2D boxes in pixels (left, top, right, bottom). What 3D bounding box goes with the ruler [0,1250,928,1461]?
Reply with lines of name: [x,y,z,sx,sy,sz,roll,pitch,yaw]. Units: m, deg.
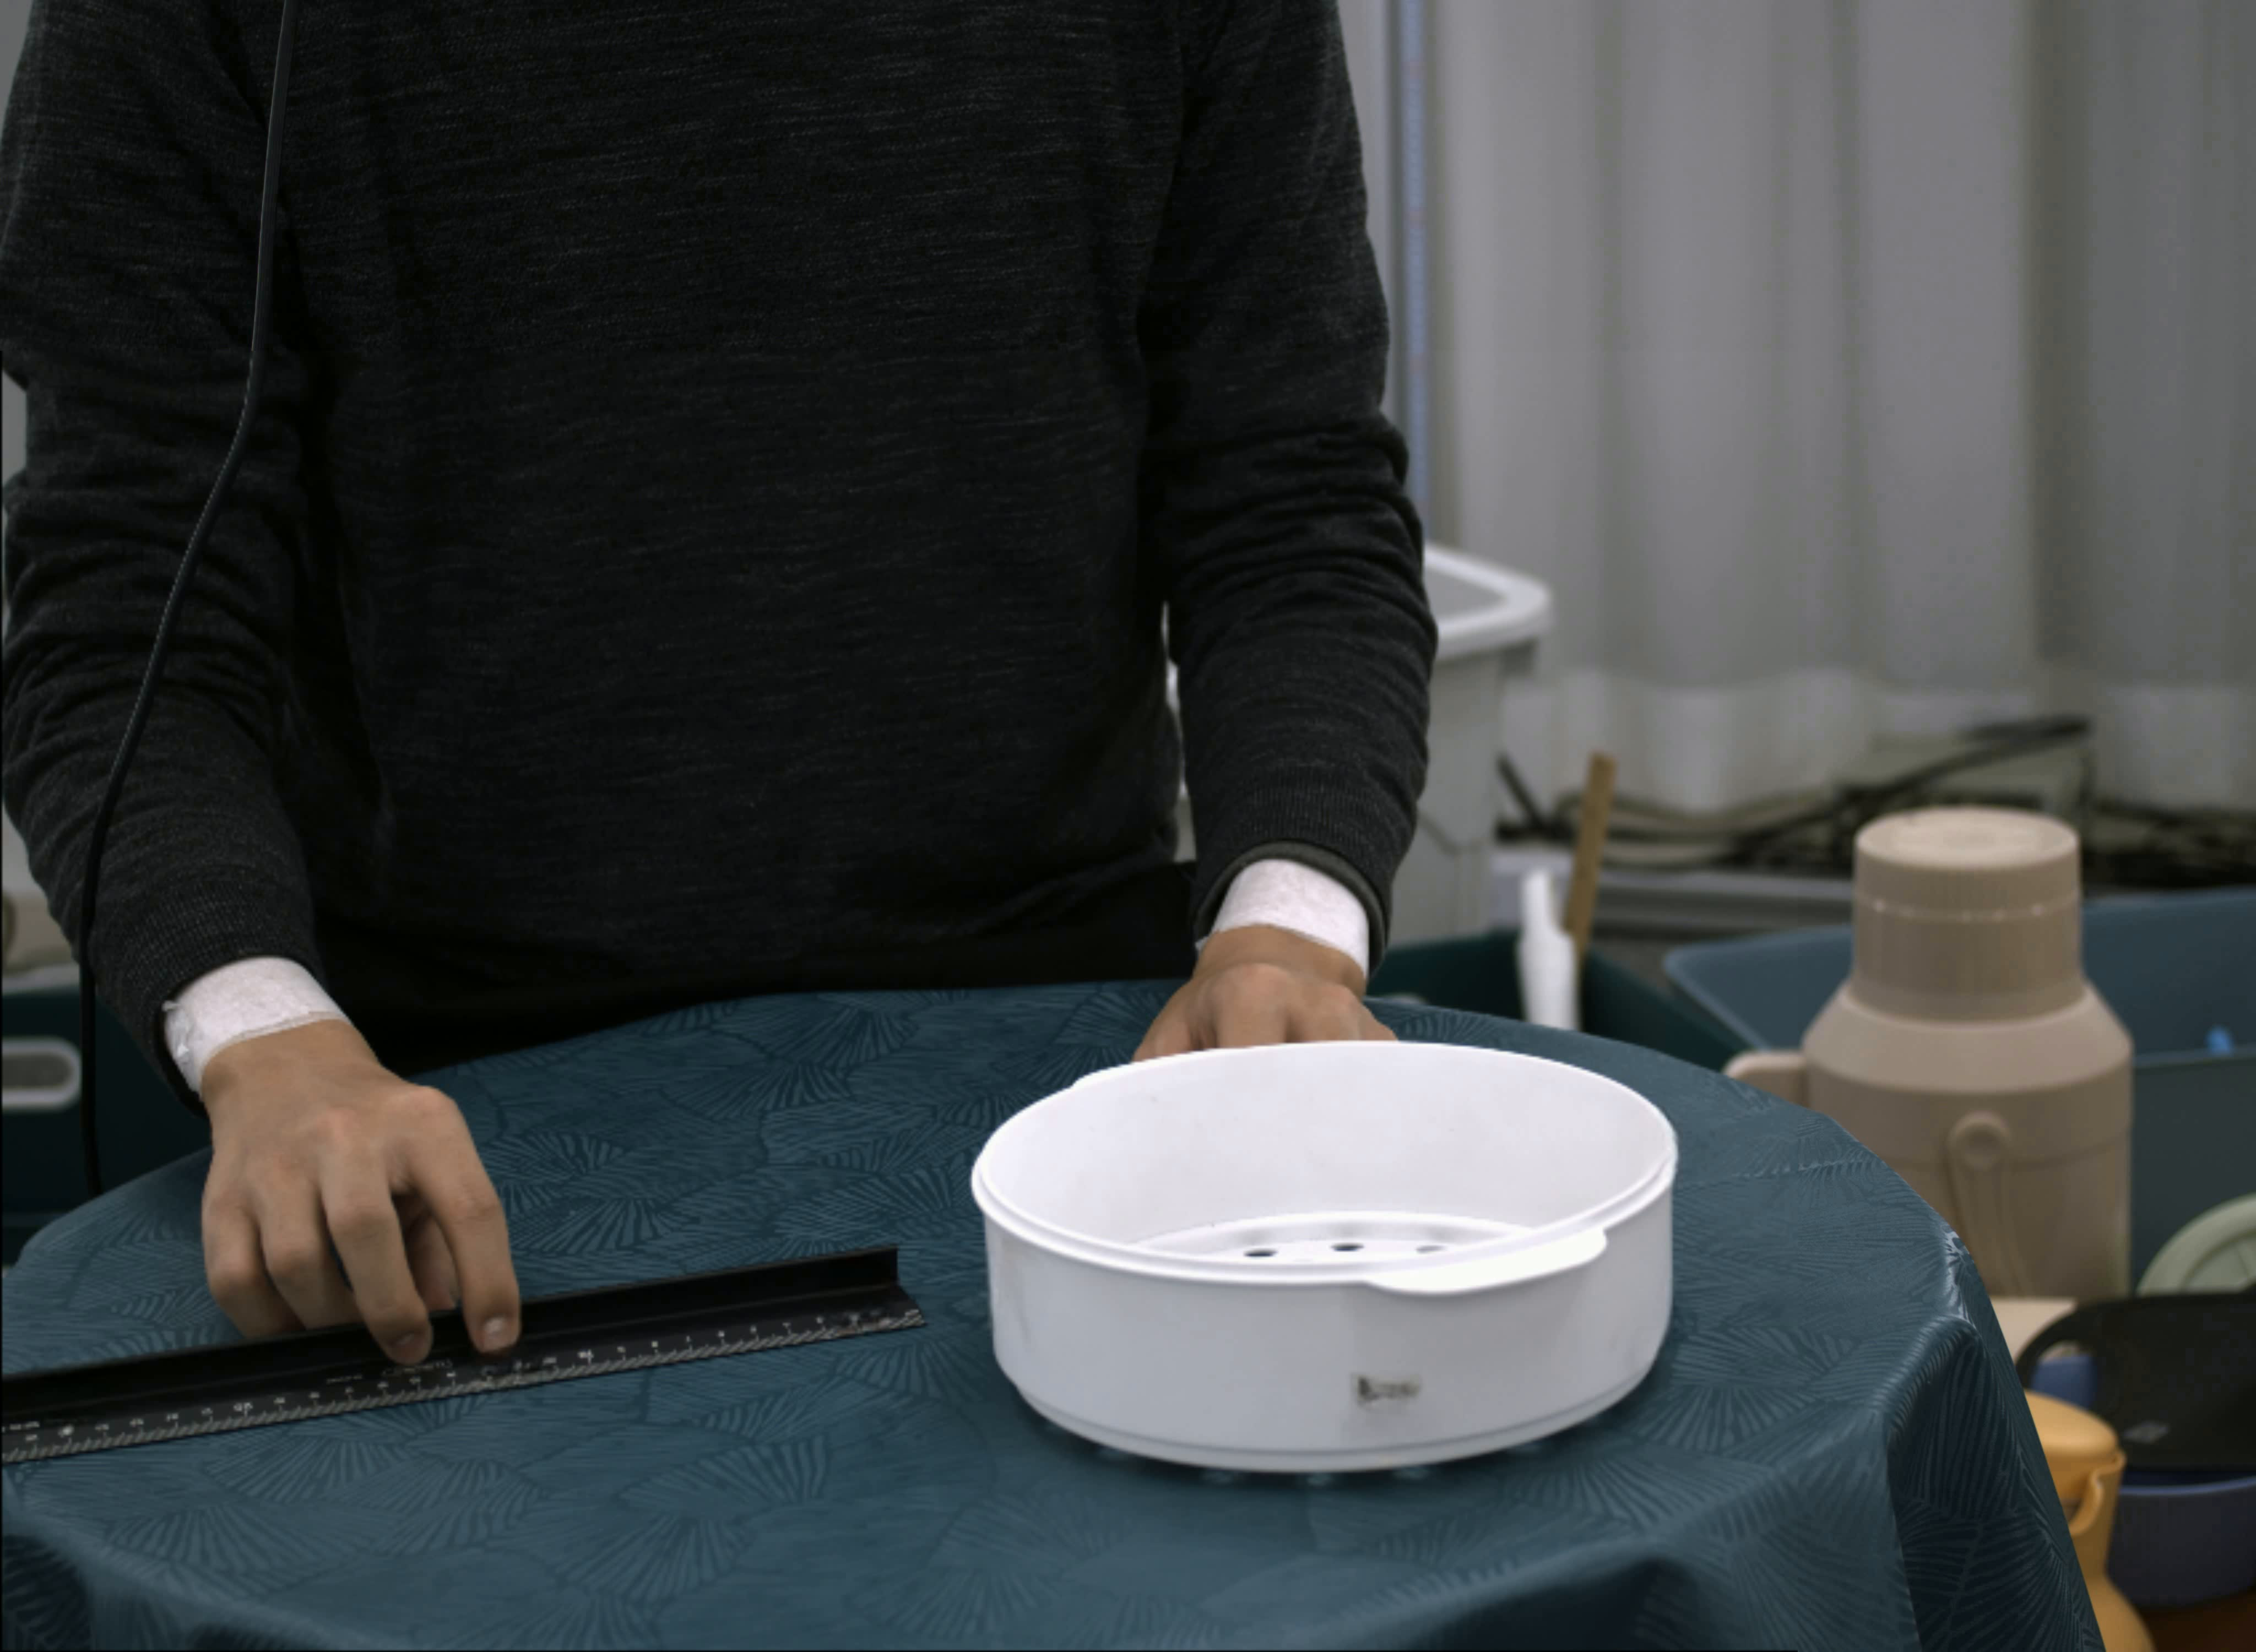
ruler: [-0.212,0.154,1.576,0.311,0.017,0.039,-7,18,-15]

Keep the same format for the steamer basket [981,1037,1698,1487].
steamer basket: [0.060,0.122,1.541,0.201,0.069,0.232,-9,18,-24]
